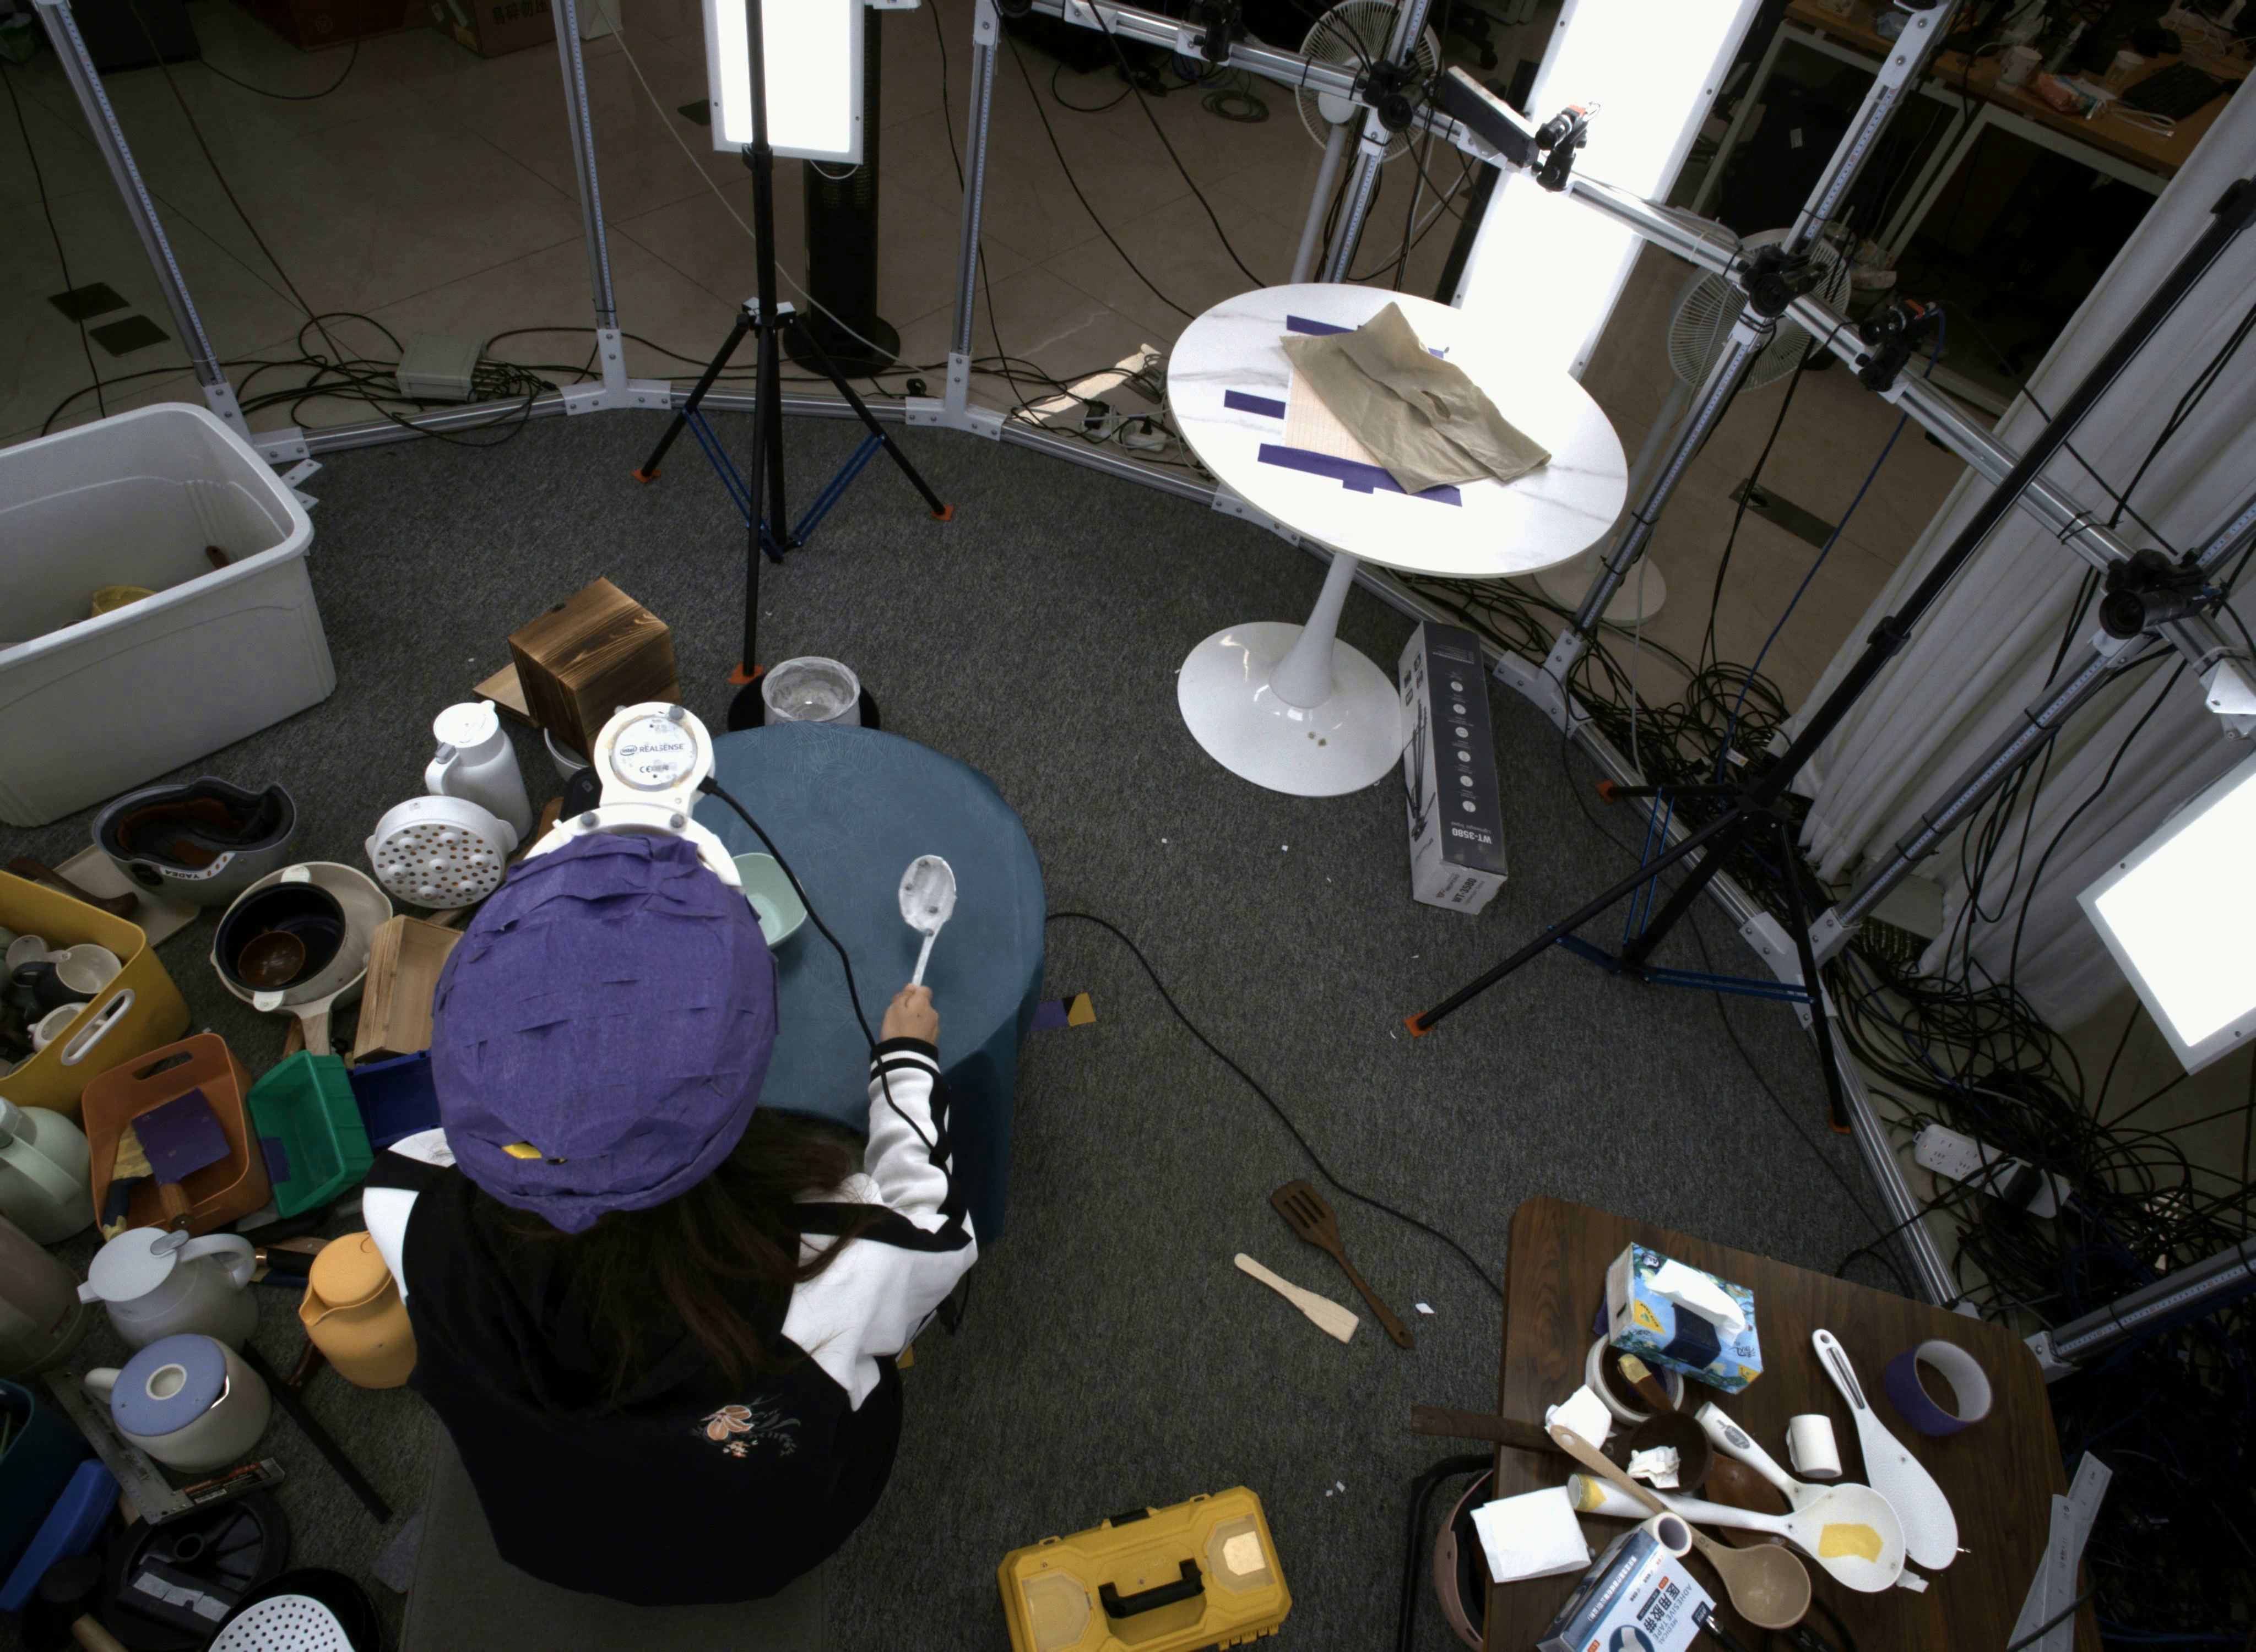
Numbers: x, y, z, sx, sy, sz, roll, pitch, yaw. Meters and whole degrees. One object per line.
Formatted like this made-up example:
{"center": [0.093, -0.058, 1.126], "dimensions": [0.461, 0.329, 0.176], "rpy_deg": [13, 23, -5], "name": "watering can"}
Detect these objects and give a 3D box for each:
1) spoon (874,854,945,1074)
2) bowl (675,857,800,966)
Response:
{"center": [-0.275, 0.157, 1.531], "dimensions": [0.061, 0.099, 0.274], "rpy_deg": [39, 45, -28], "name": "spoon"}
{"center": [-0.477, 0.113, 1.586], "dimensions": [0.151, 0.060, 0.149], "rpy_deg": [8, 52, -8], "name": "bowl"}
